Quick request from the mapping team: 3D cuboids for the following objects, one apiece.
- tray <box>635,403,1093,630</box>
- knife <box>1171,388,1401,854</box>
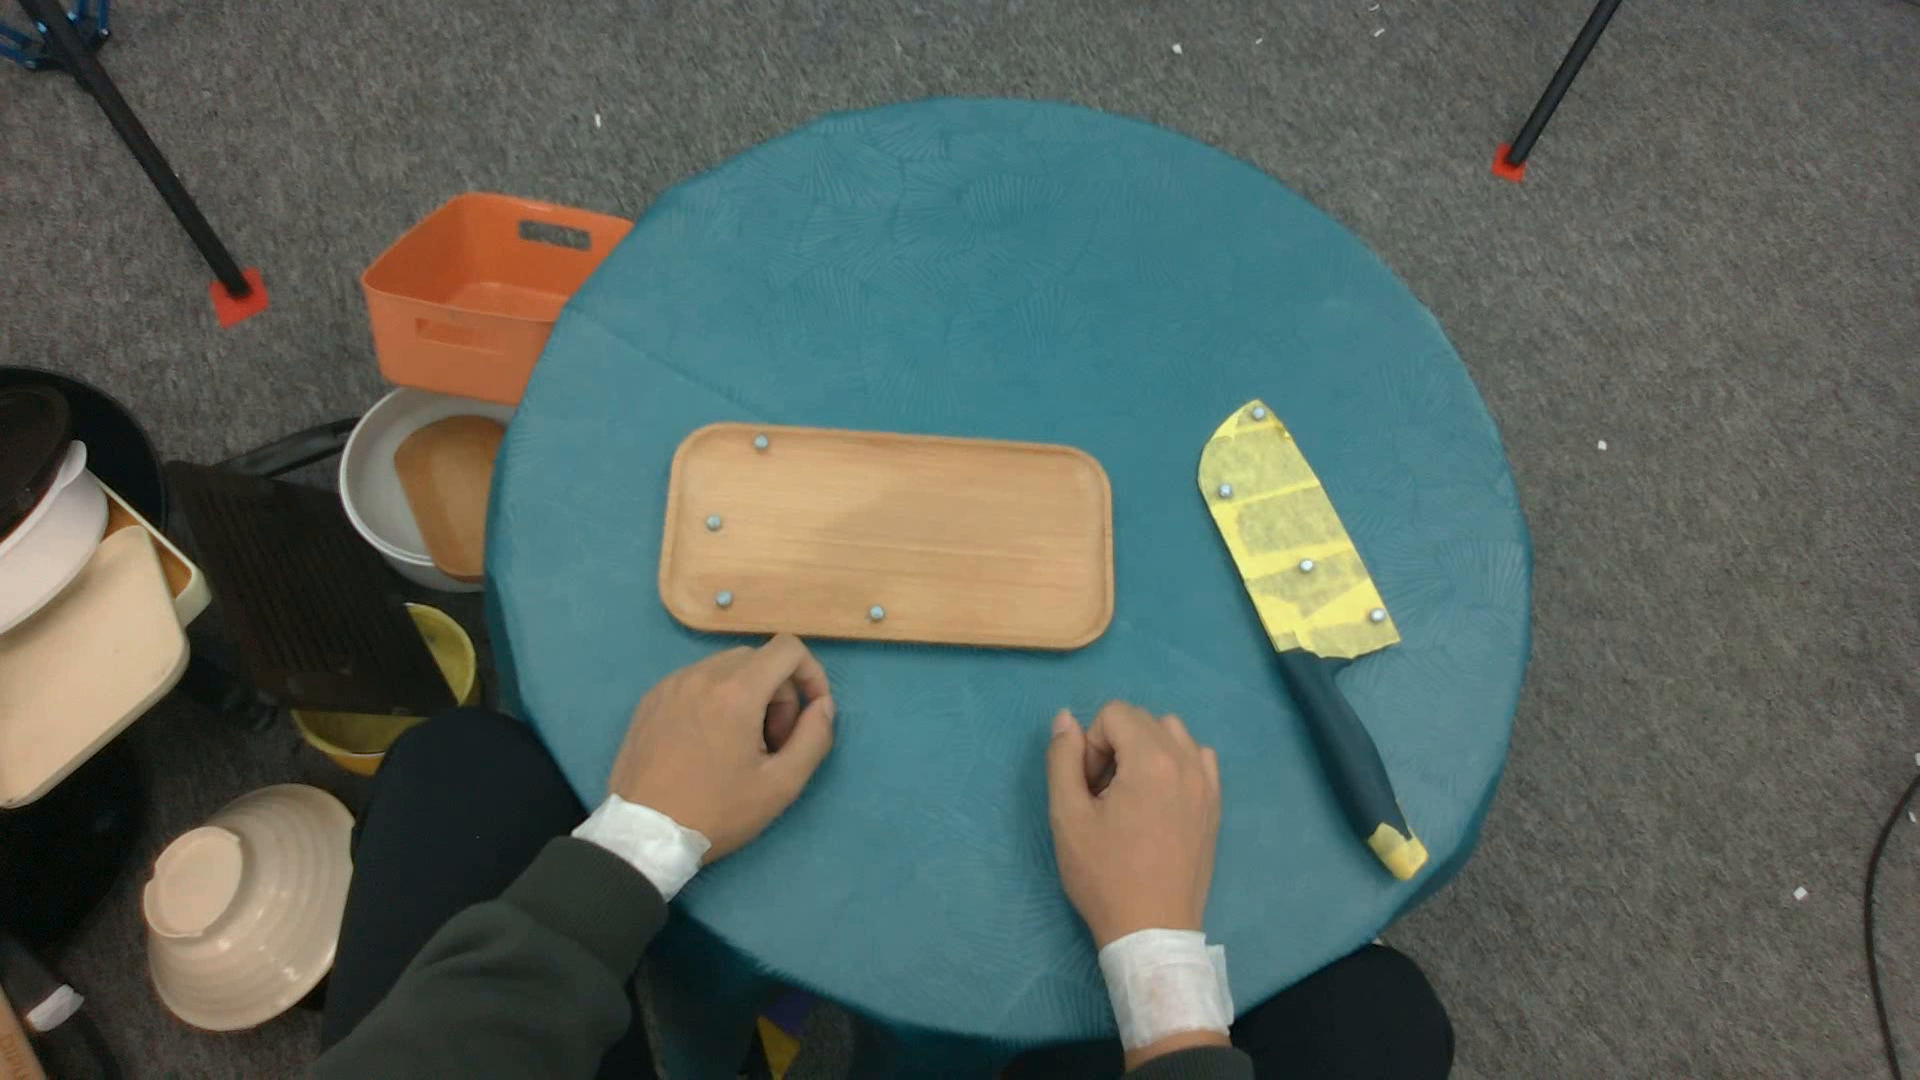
[{"bbox_3d":[-0.051,-0.013,0.772,0.251,0.023,0.131,3,68,-7],"label":"tray"},{"bbox_3d":[0.192,0.035,0.785,0.081,0.027,0.290,-13,67,-12],"label":"knife"}]
